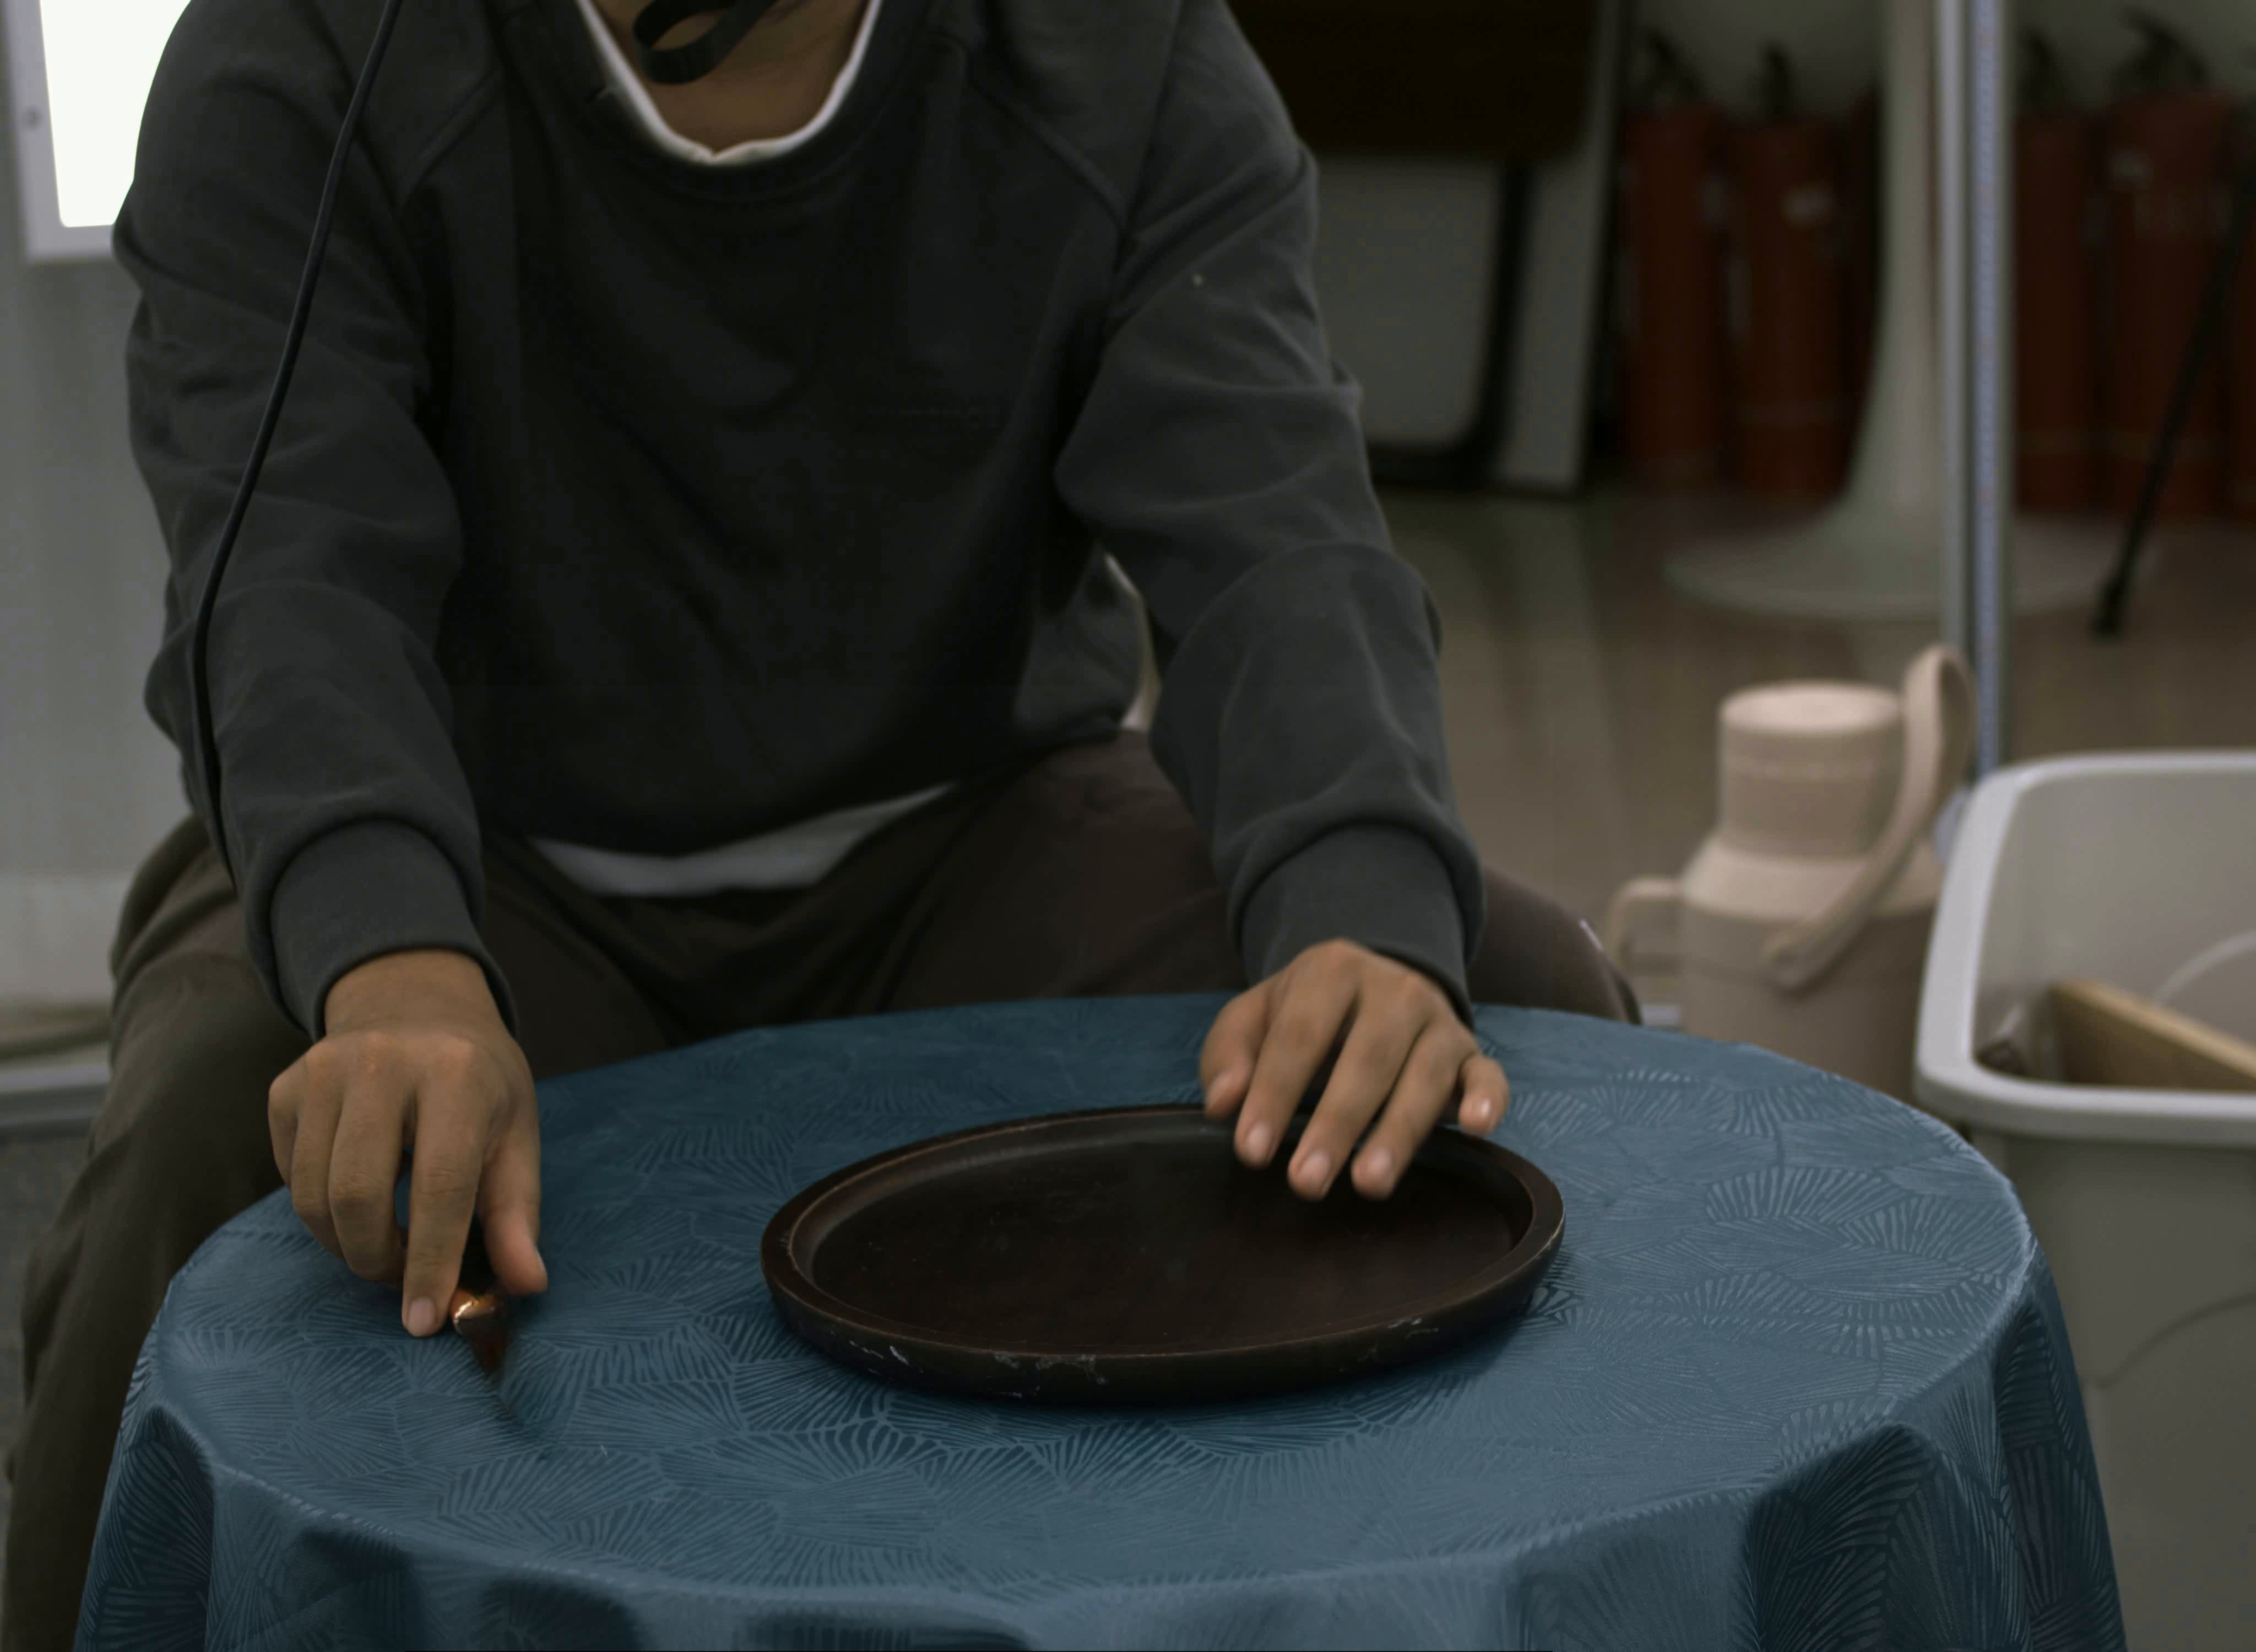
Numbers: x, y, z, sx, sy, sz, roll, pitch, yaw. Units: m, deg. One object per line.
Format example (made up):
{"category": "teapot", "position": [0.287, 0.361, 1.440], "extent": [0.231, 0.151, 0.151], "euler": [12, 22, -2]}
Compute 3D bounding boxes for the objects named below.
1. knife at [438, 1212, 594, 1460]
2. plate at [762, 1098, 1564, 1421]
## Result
{"category": "knife", "position": [-0.189, 0.157, 1.665], "extent": [0.025, 0.017, 0.227], "euler": [1, 13, -15]}
{"category": "plate", "position": [0.012, 0.133, 1.677], "extent": [0.251, 0.029, 0.255], "euler": [-6, 13, 0]}
